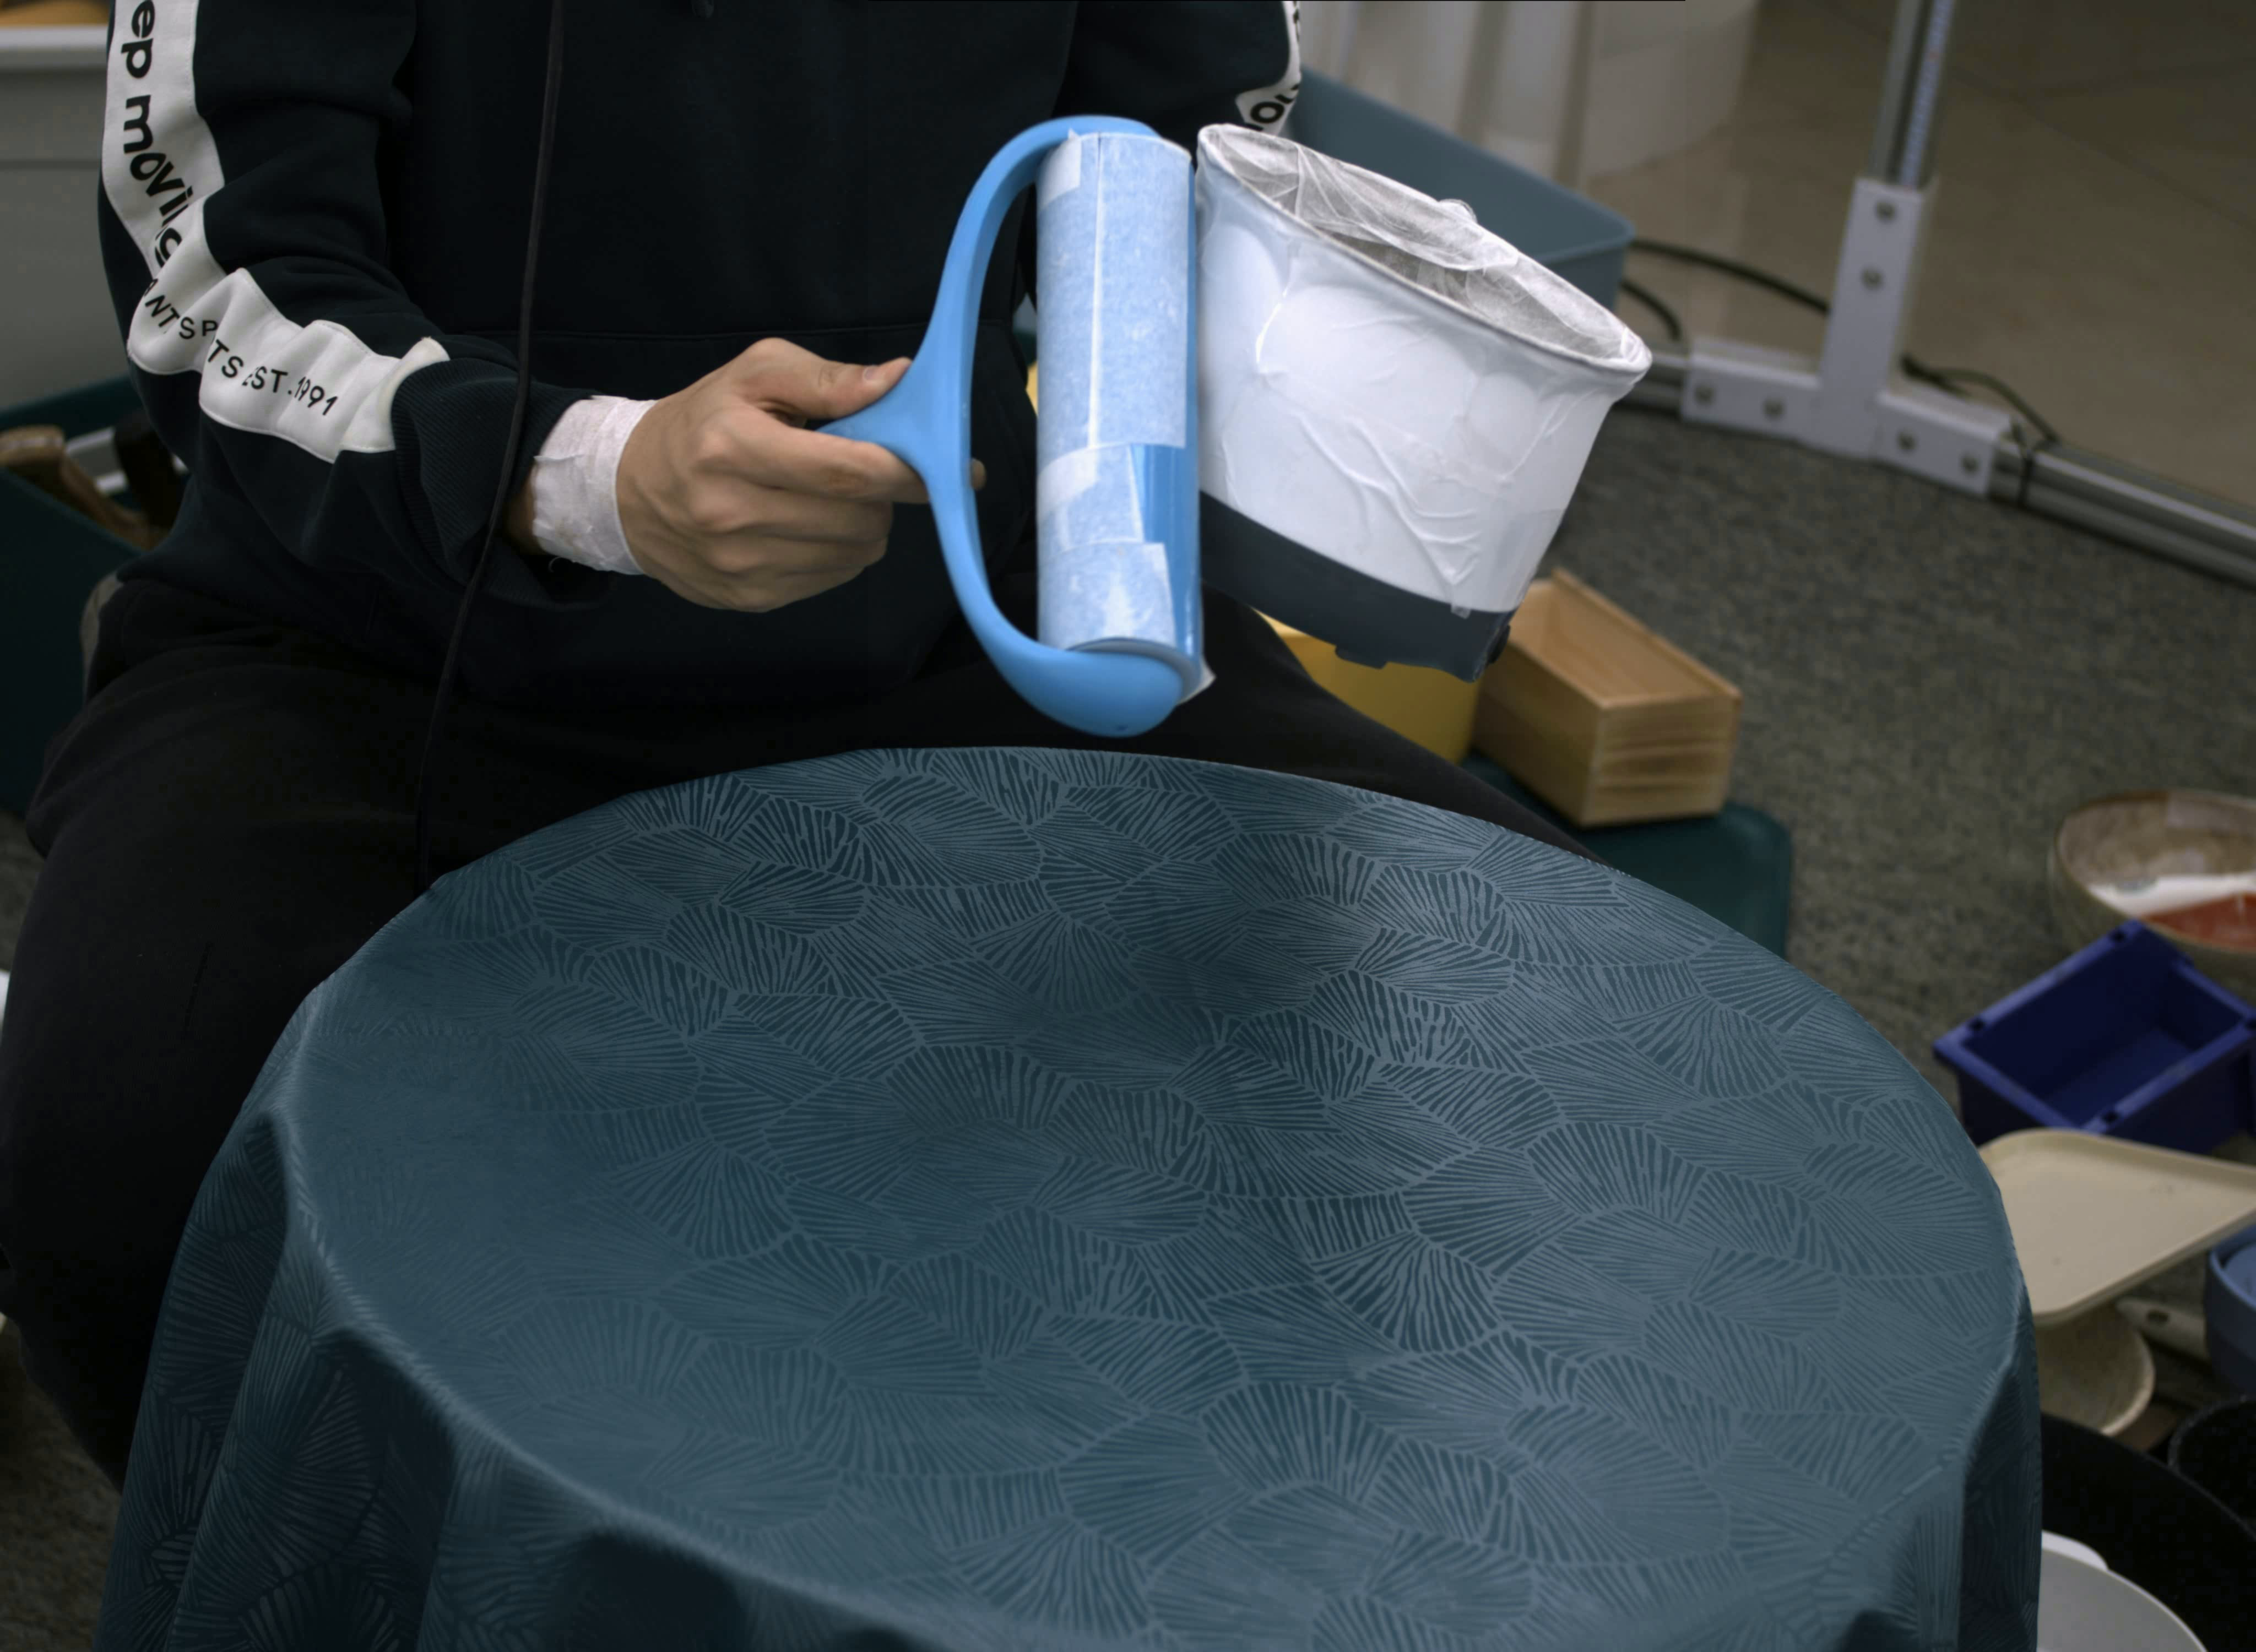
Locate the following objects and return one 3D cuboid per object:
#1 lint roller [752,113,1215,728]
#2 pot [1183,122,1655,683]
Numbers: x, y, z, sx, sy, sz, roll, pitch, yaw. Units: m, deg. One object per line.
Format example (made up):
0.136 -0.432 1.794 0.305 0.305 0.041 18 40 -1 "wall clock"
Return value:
-0.057 -0.123 1.782 0.180 0.067 0.231 -14 62 19 "lint roller"
0.080 -0.154 1.885 0.178 0.136 0.234 28 16 2 "pot"
